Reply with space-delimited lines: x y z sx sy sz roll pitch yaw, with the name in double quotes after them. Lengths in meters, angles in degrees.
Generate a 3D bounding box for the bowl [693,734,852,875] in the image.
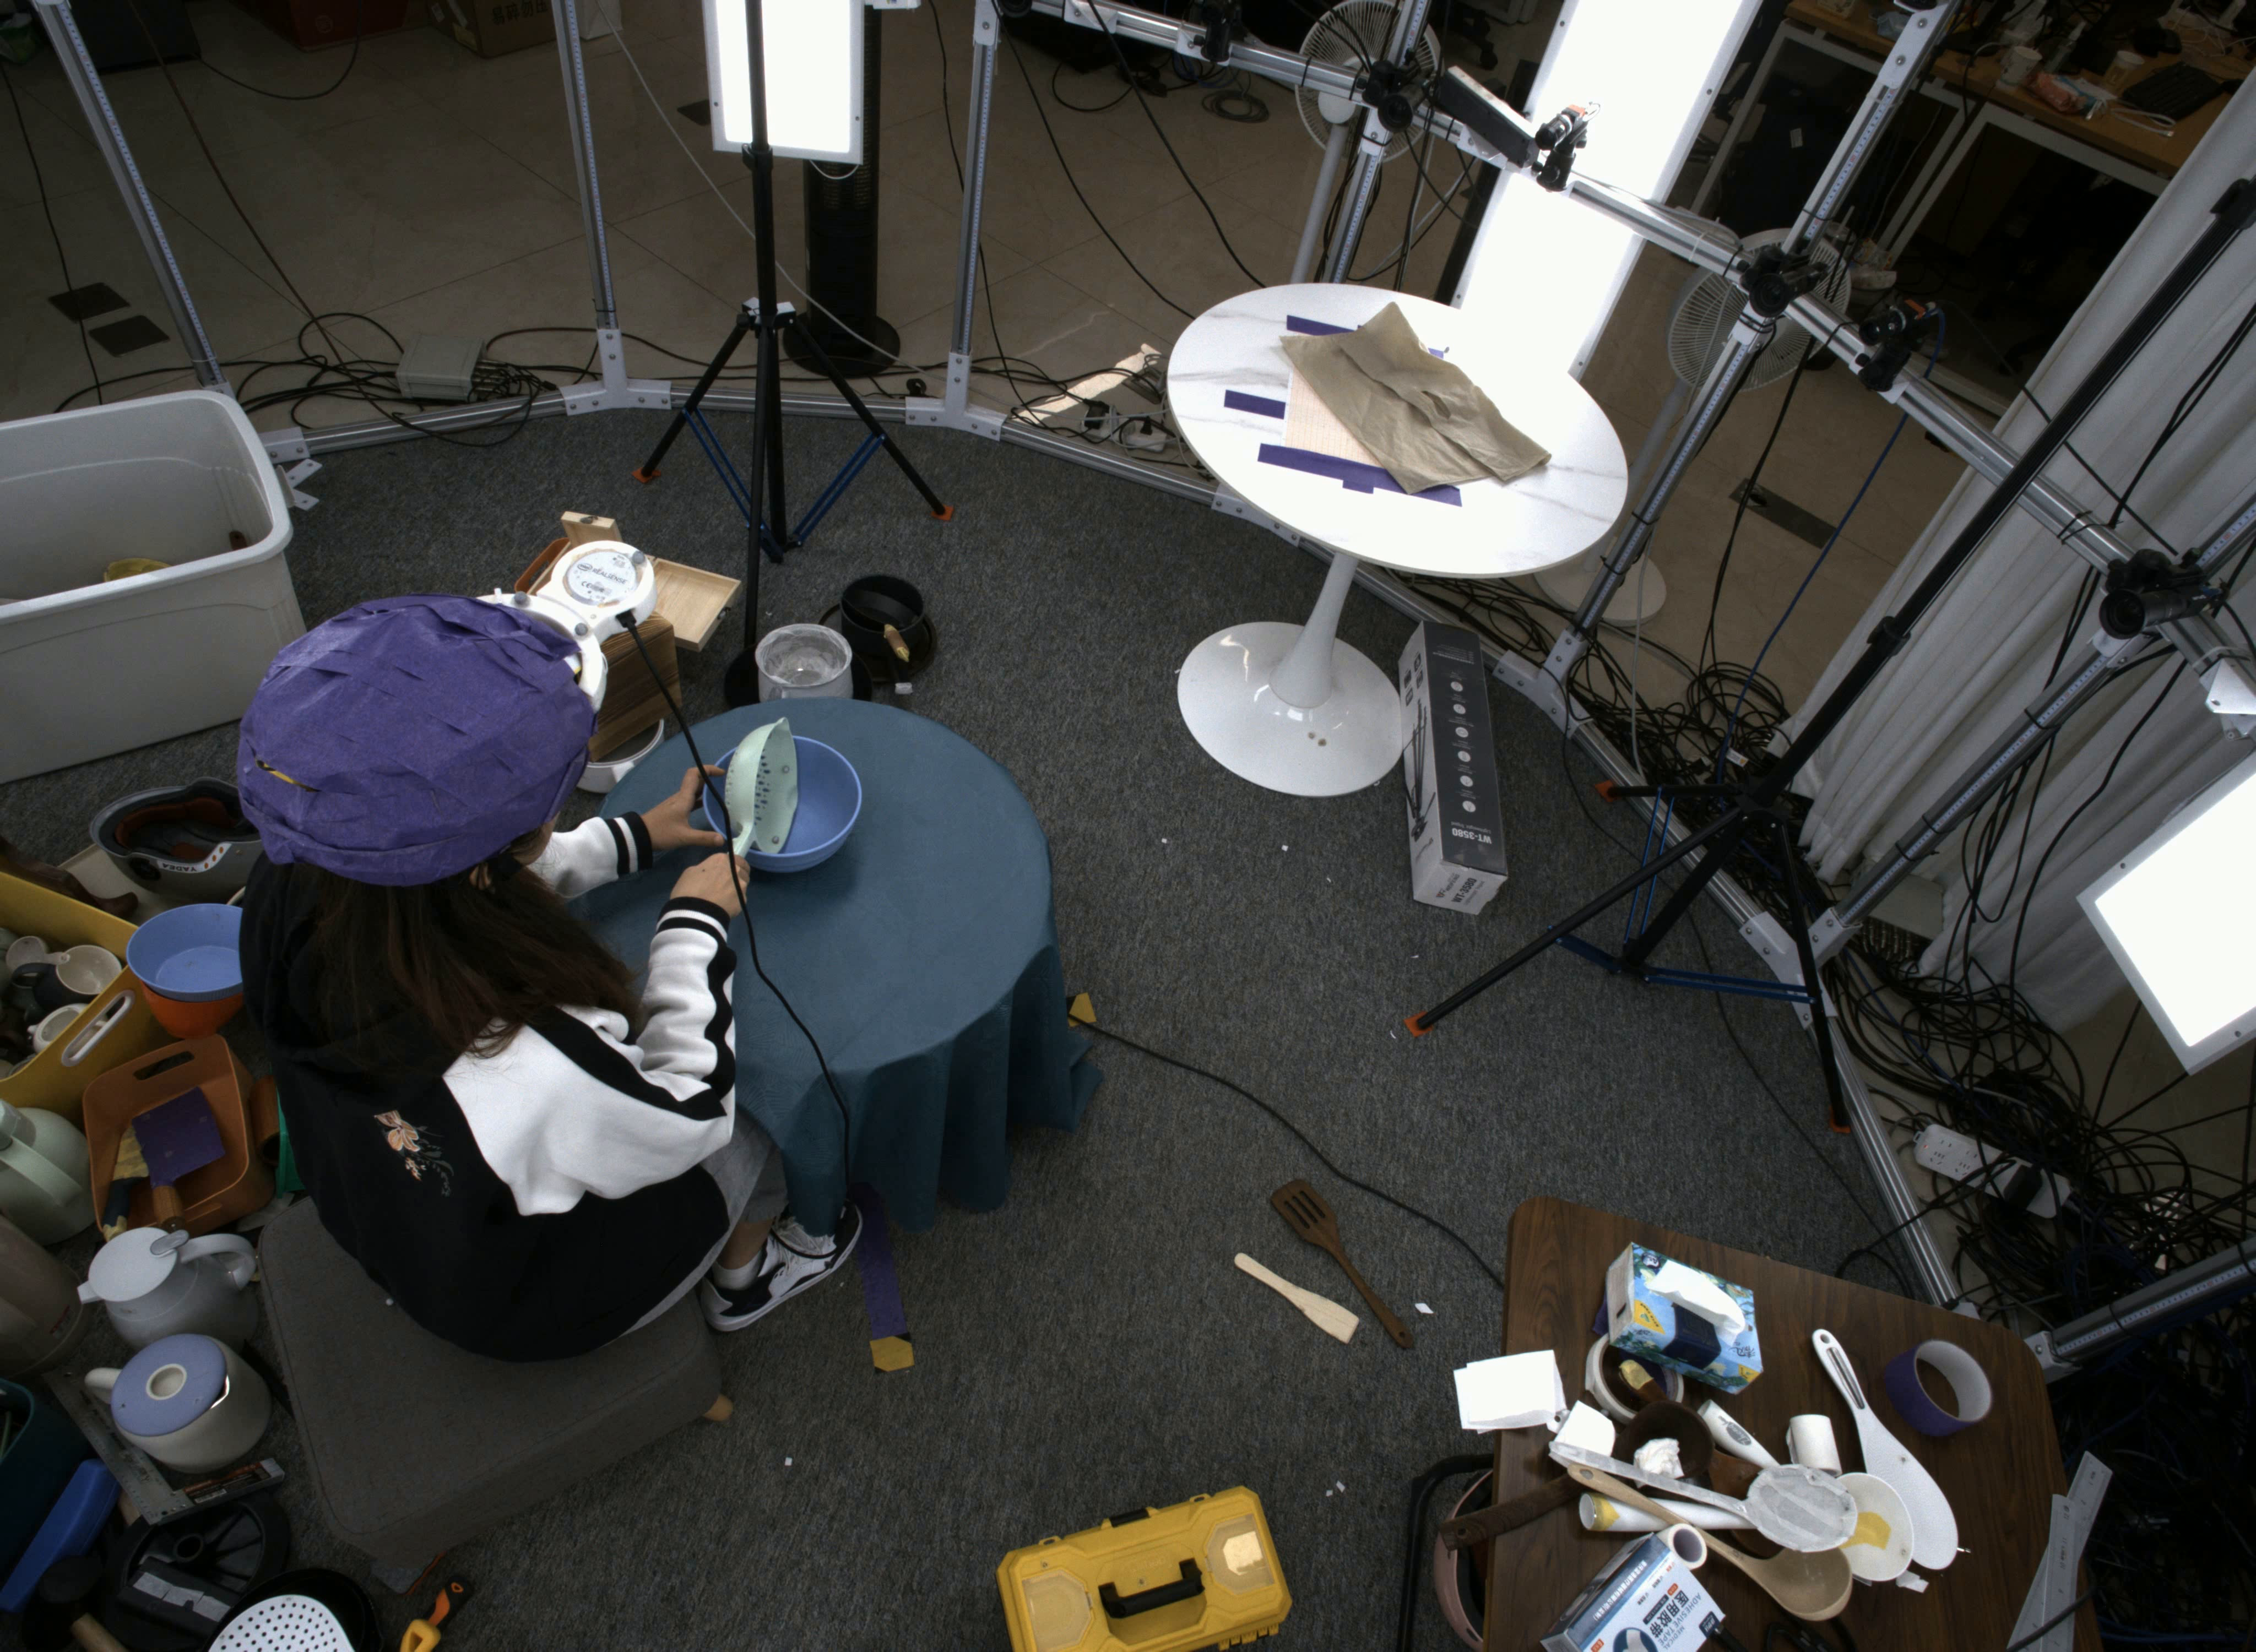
-0.453 -0.013 1.659 0.196 0.097 0.193 8 52 -9 "bowl"

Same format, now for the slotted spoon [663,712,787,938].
-0.474 0.009 1.533 0.075 0.175 0.350 -1 38 -3 "slotted spoon"
